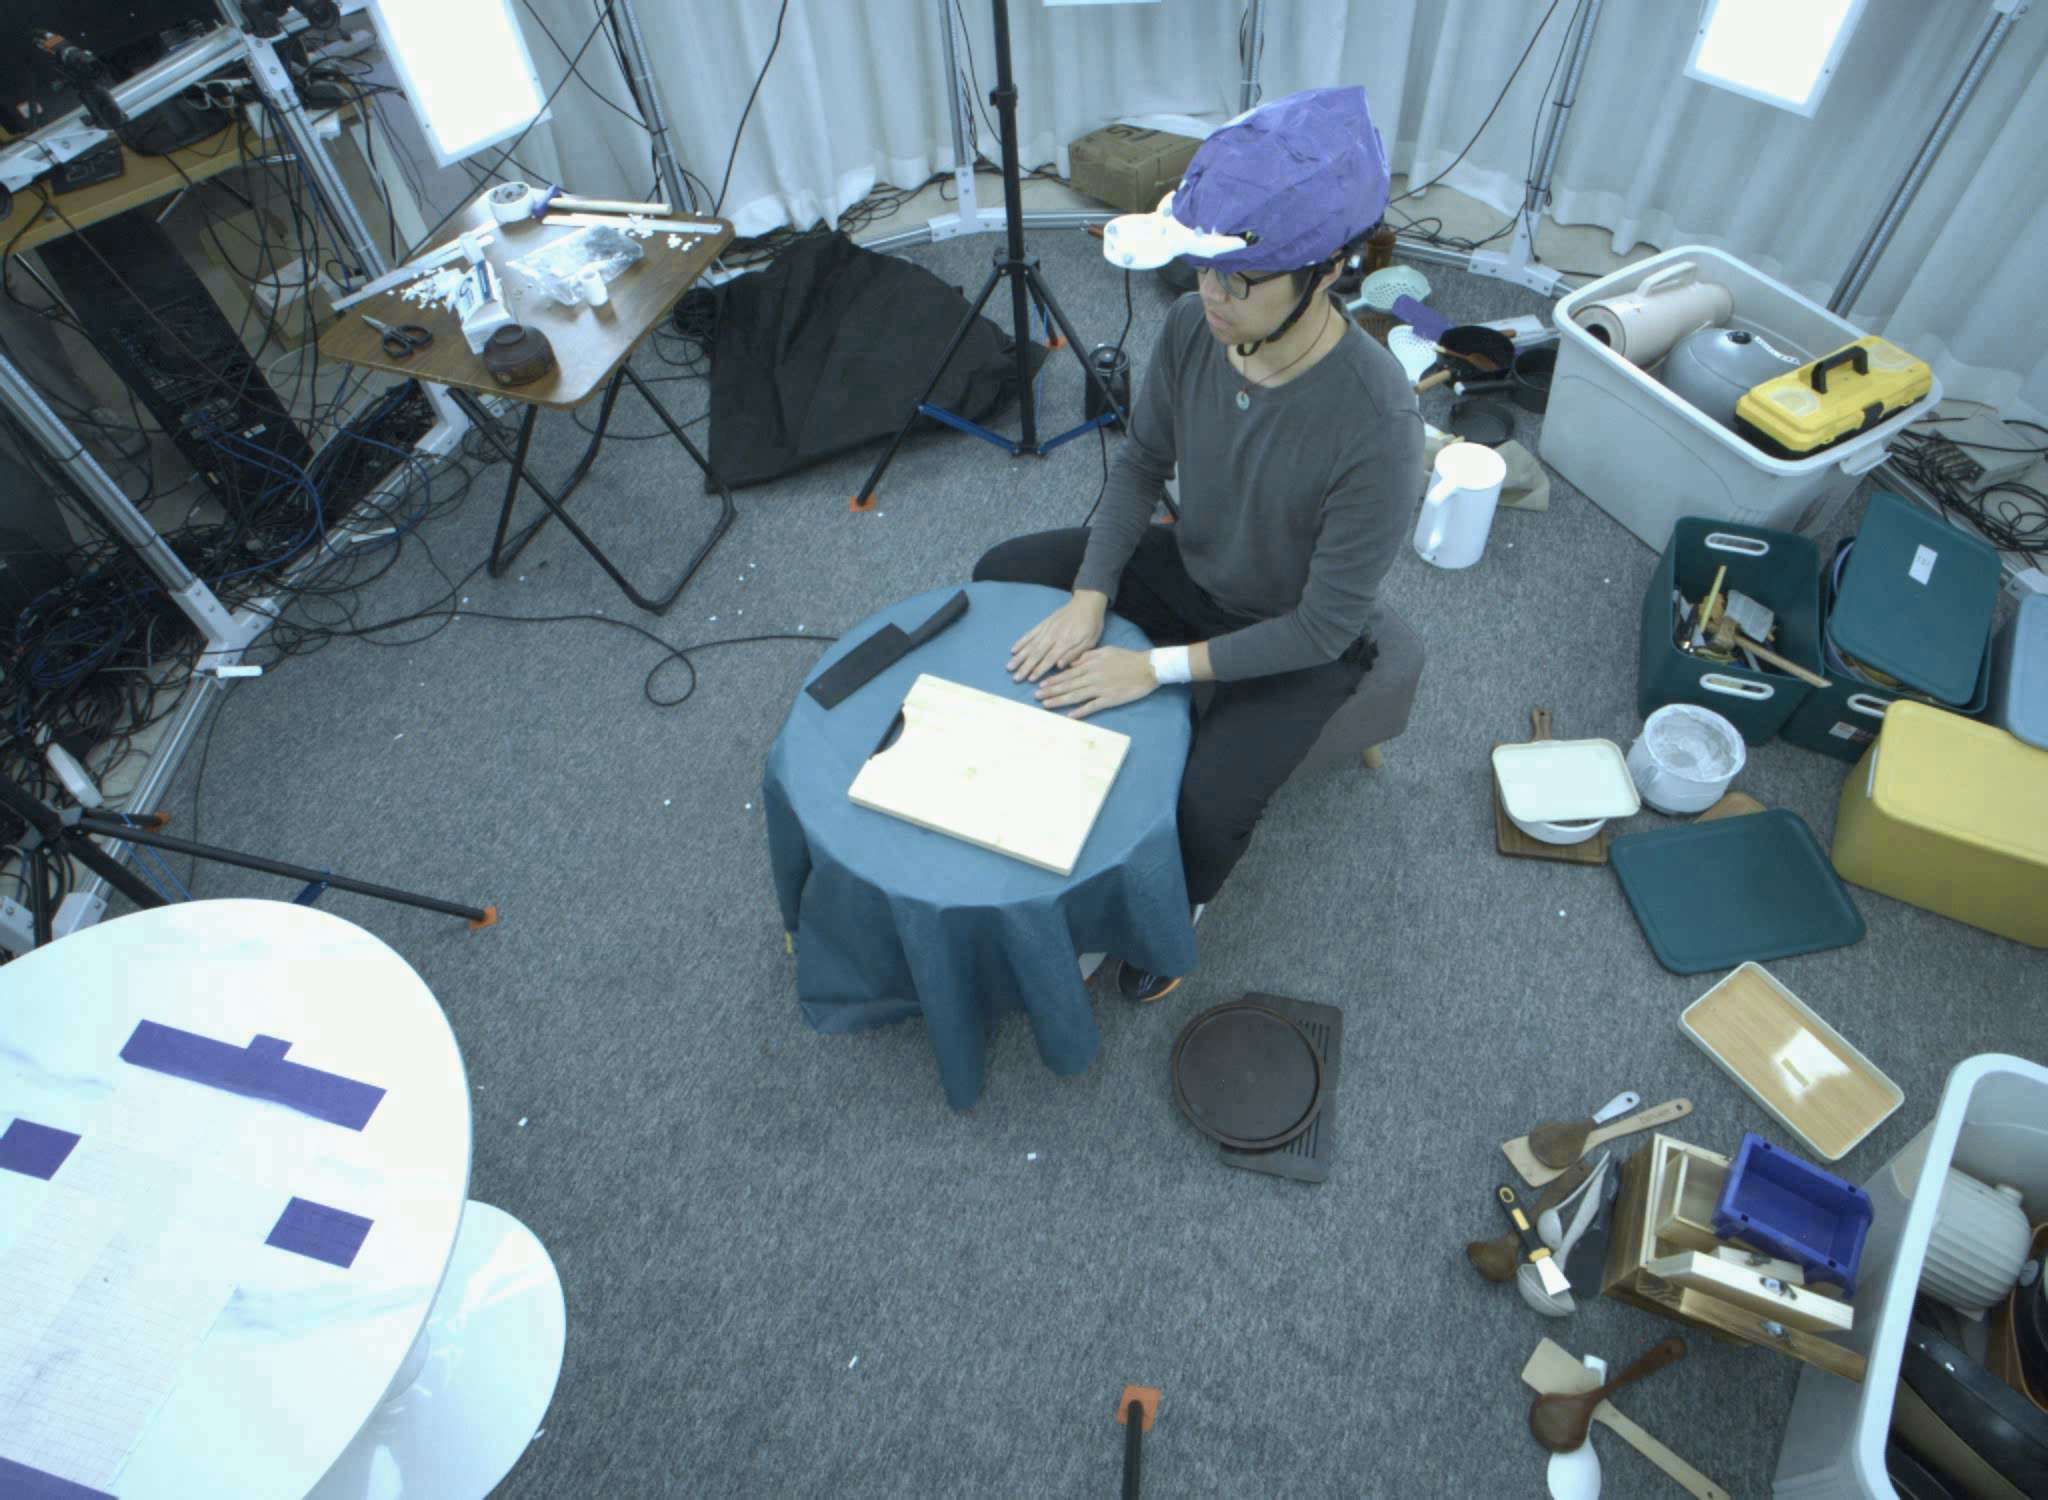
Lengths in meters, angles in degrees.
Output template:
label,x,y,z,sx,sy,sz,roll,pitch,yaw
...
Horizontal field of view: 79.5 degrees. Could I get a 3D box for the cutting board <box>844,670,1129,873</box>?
label,x,y,z,sx,sy,sz,roll,pitch,yaw
cutting board,-0.053,0.024,1.769,0.345,0.024,0.250,17,56,13

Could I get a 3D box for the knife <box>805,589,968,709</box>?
label,x,y,z,sx,sy,sz,roll,pitch,yaw
knife,-0.209,-0.165,1.910,0.304,0.021,0.079,-35,60,-20
